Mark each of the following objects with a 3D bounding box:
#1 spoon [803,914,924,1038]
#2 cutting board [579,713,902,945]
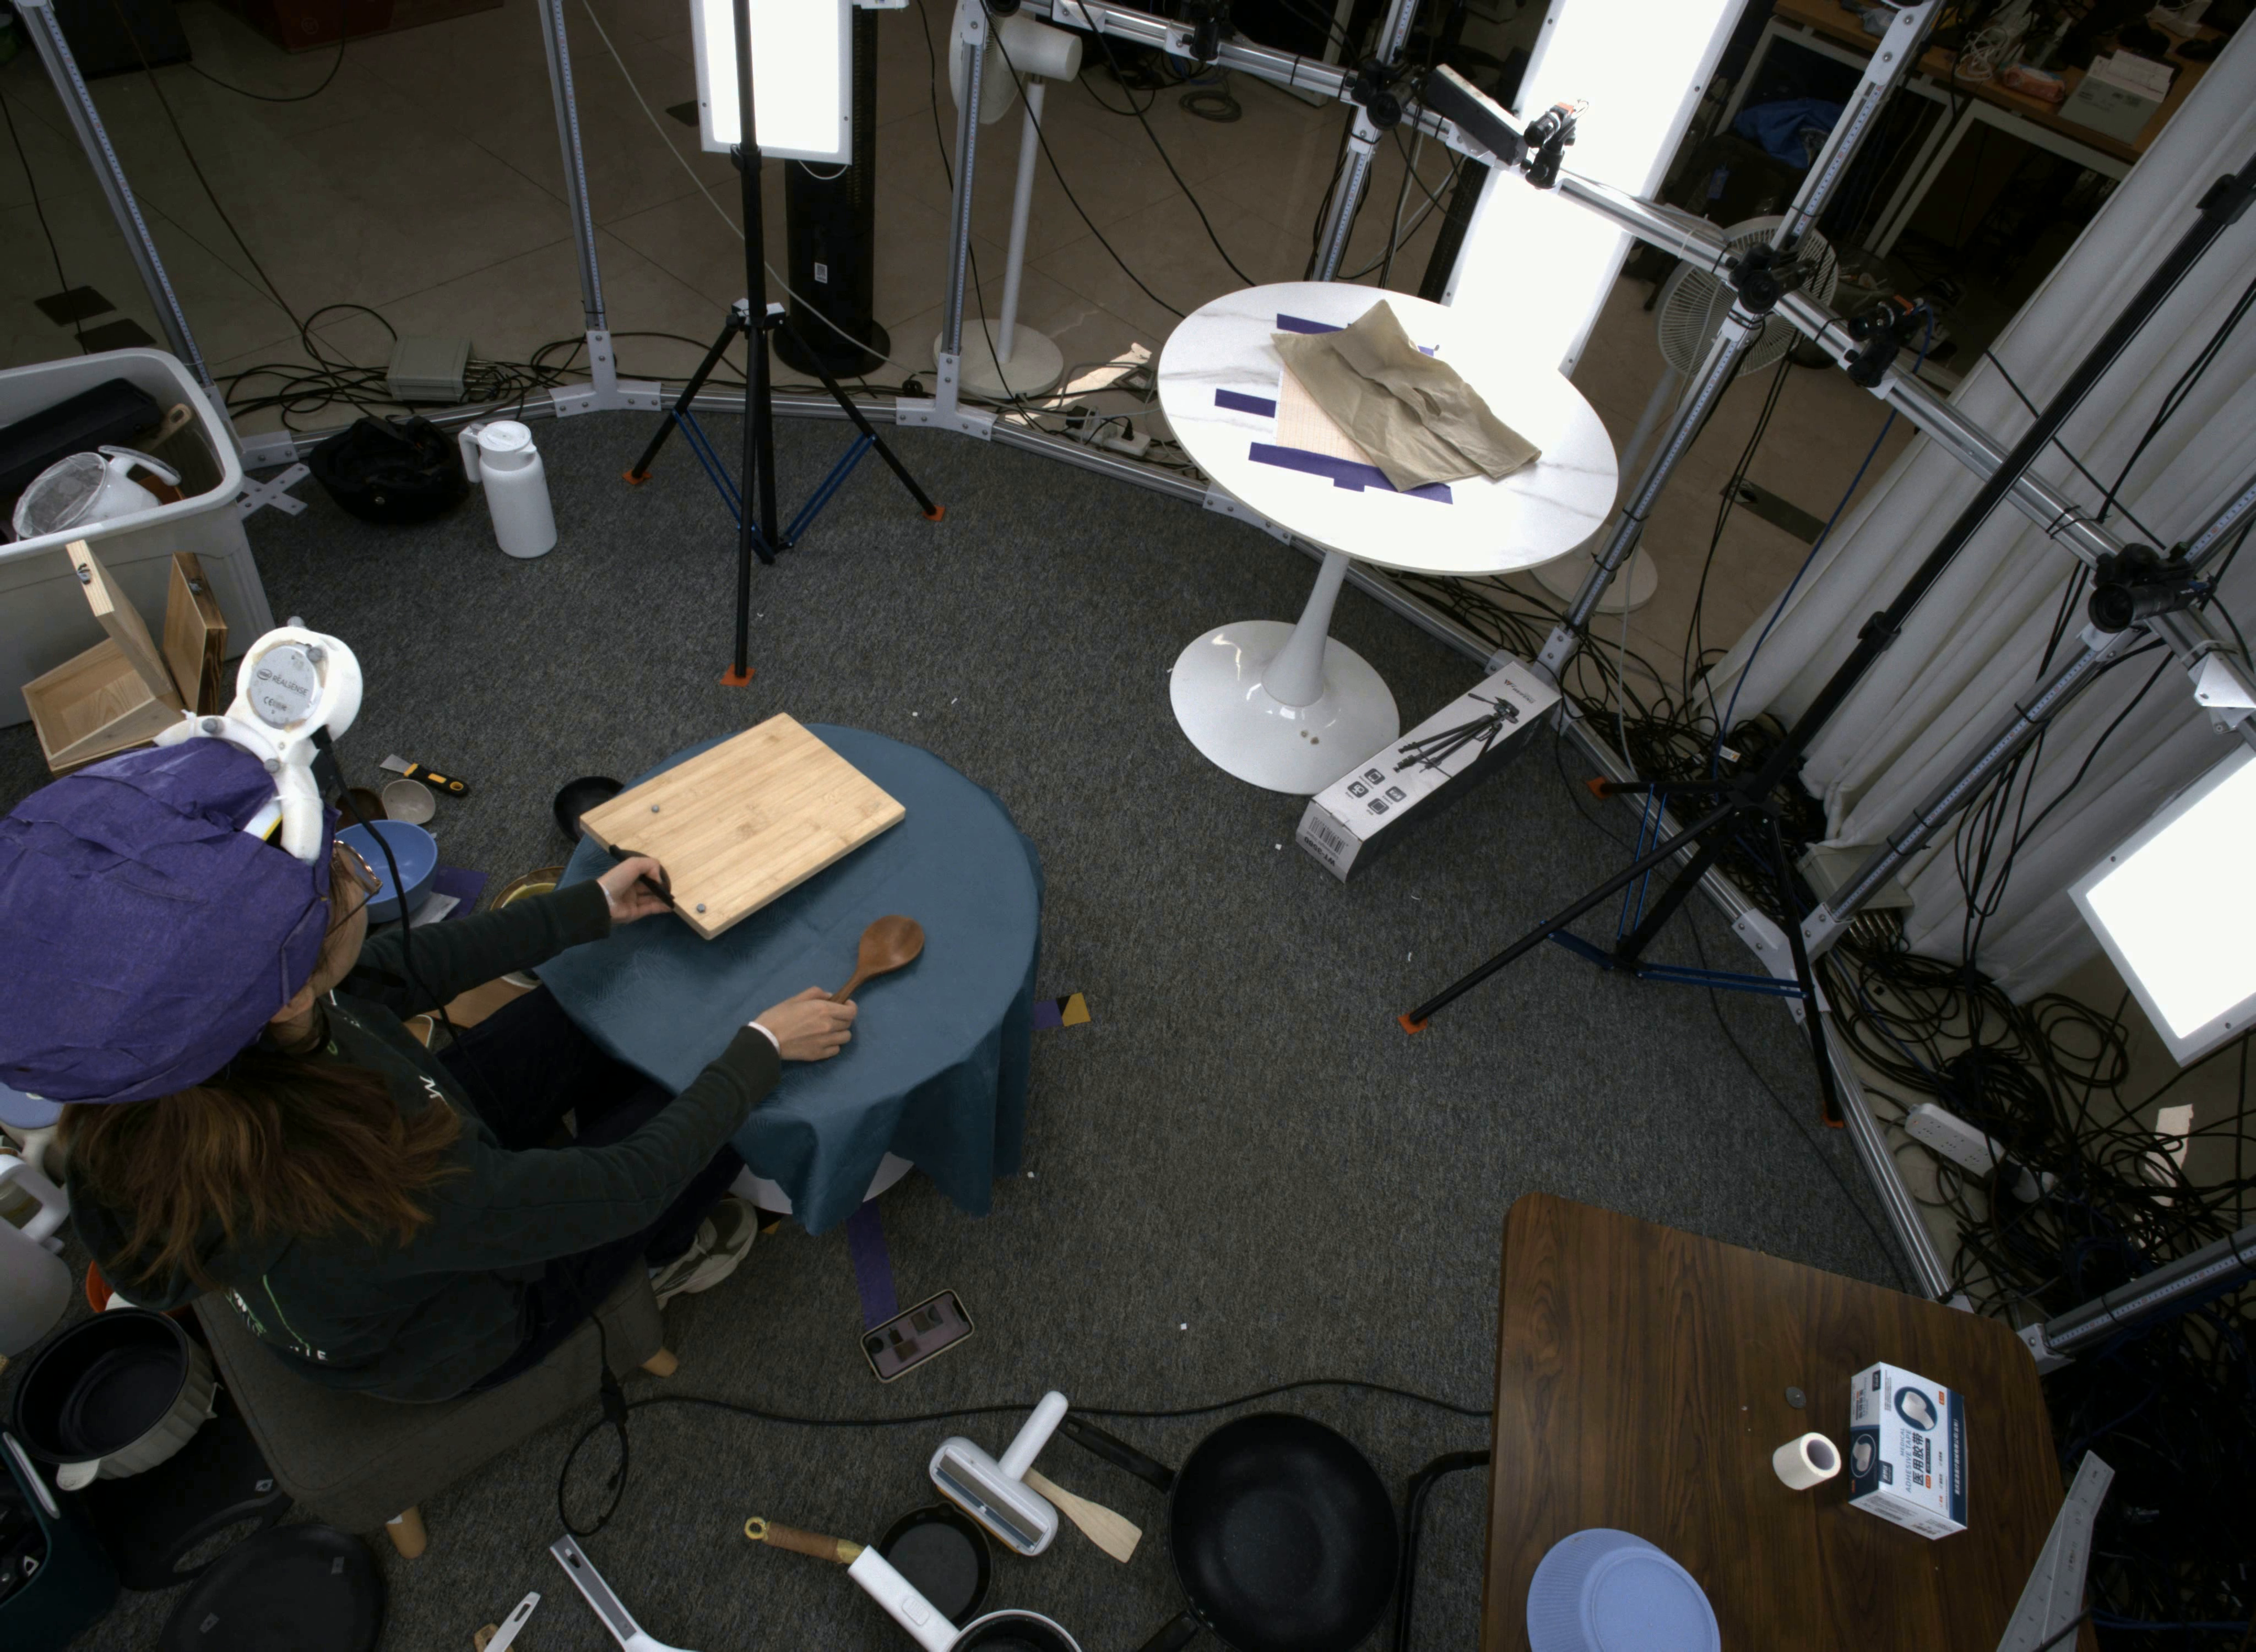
[{"bbox_3d":[-0.328,0.181,1.596,0.074,0.017,0.215,32,45,8],"label":"spoon"},{"bbox_3d":[-0.495,-0.009,1.669,0.245,0.024,0.349,36,44,14],"label":"cutting board"}]
